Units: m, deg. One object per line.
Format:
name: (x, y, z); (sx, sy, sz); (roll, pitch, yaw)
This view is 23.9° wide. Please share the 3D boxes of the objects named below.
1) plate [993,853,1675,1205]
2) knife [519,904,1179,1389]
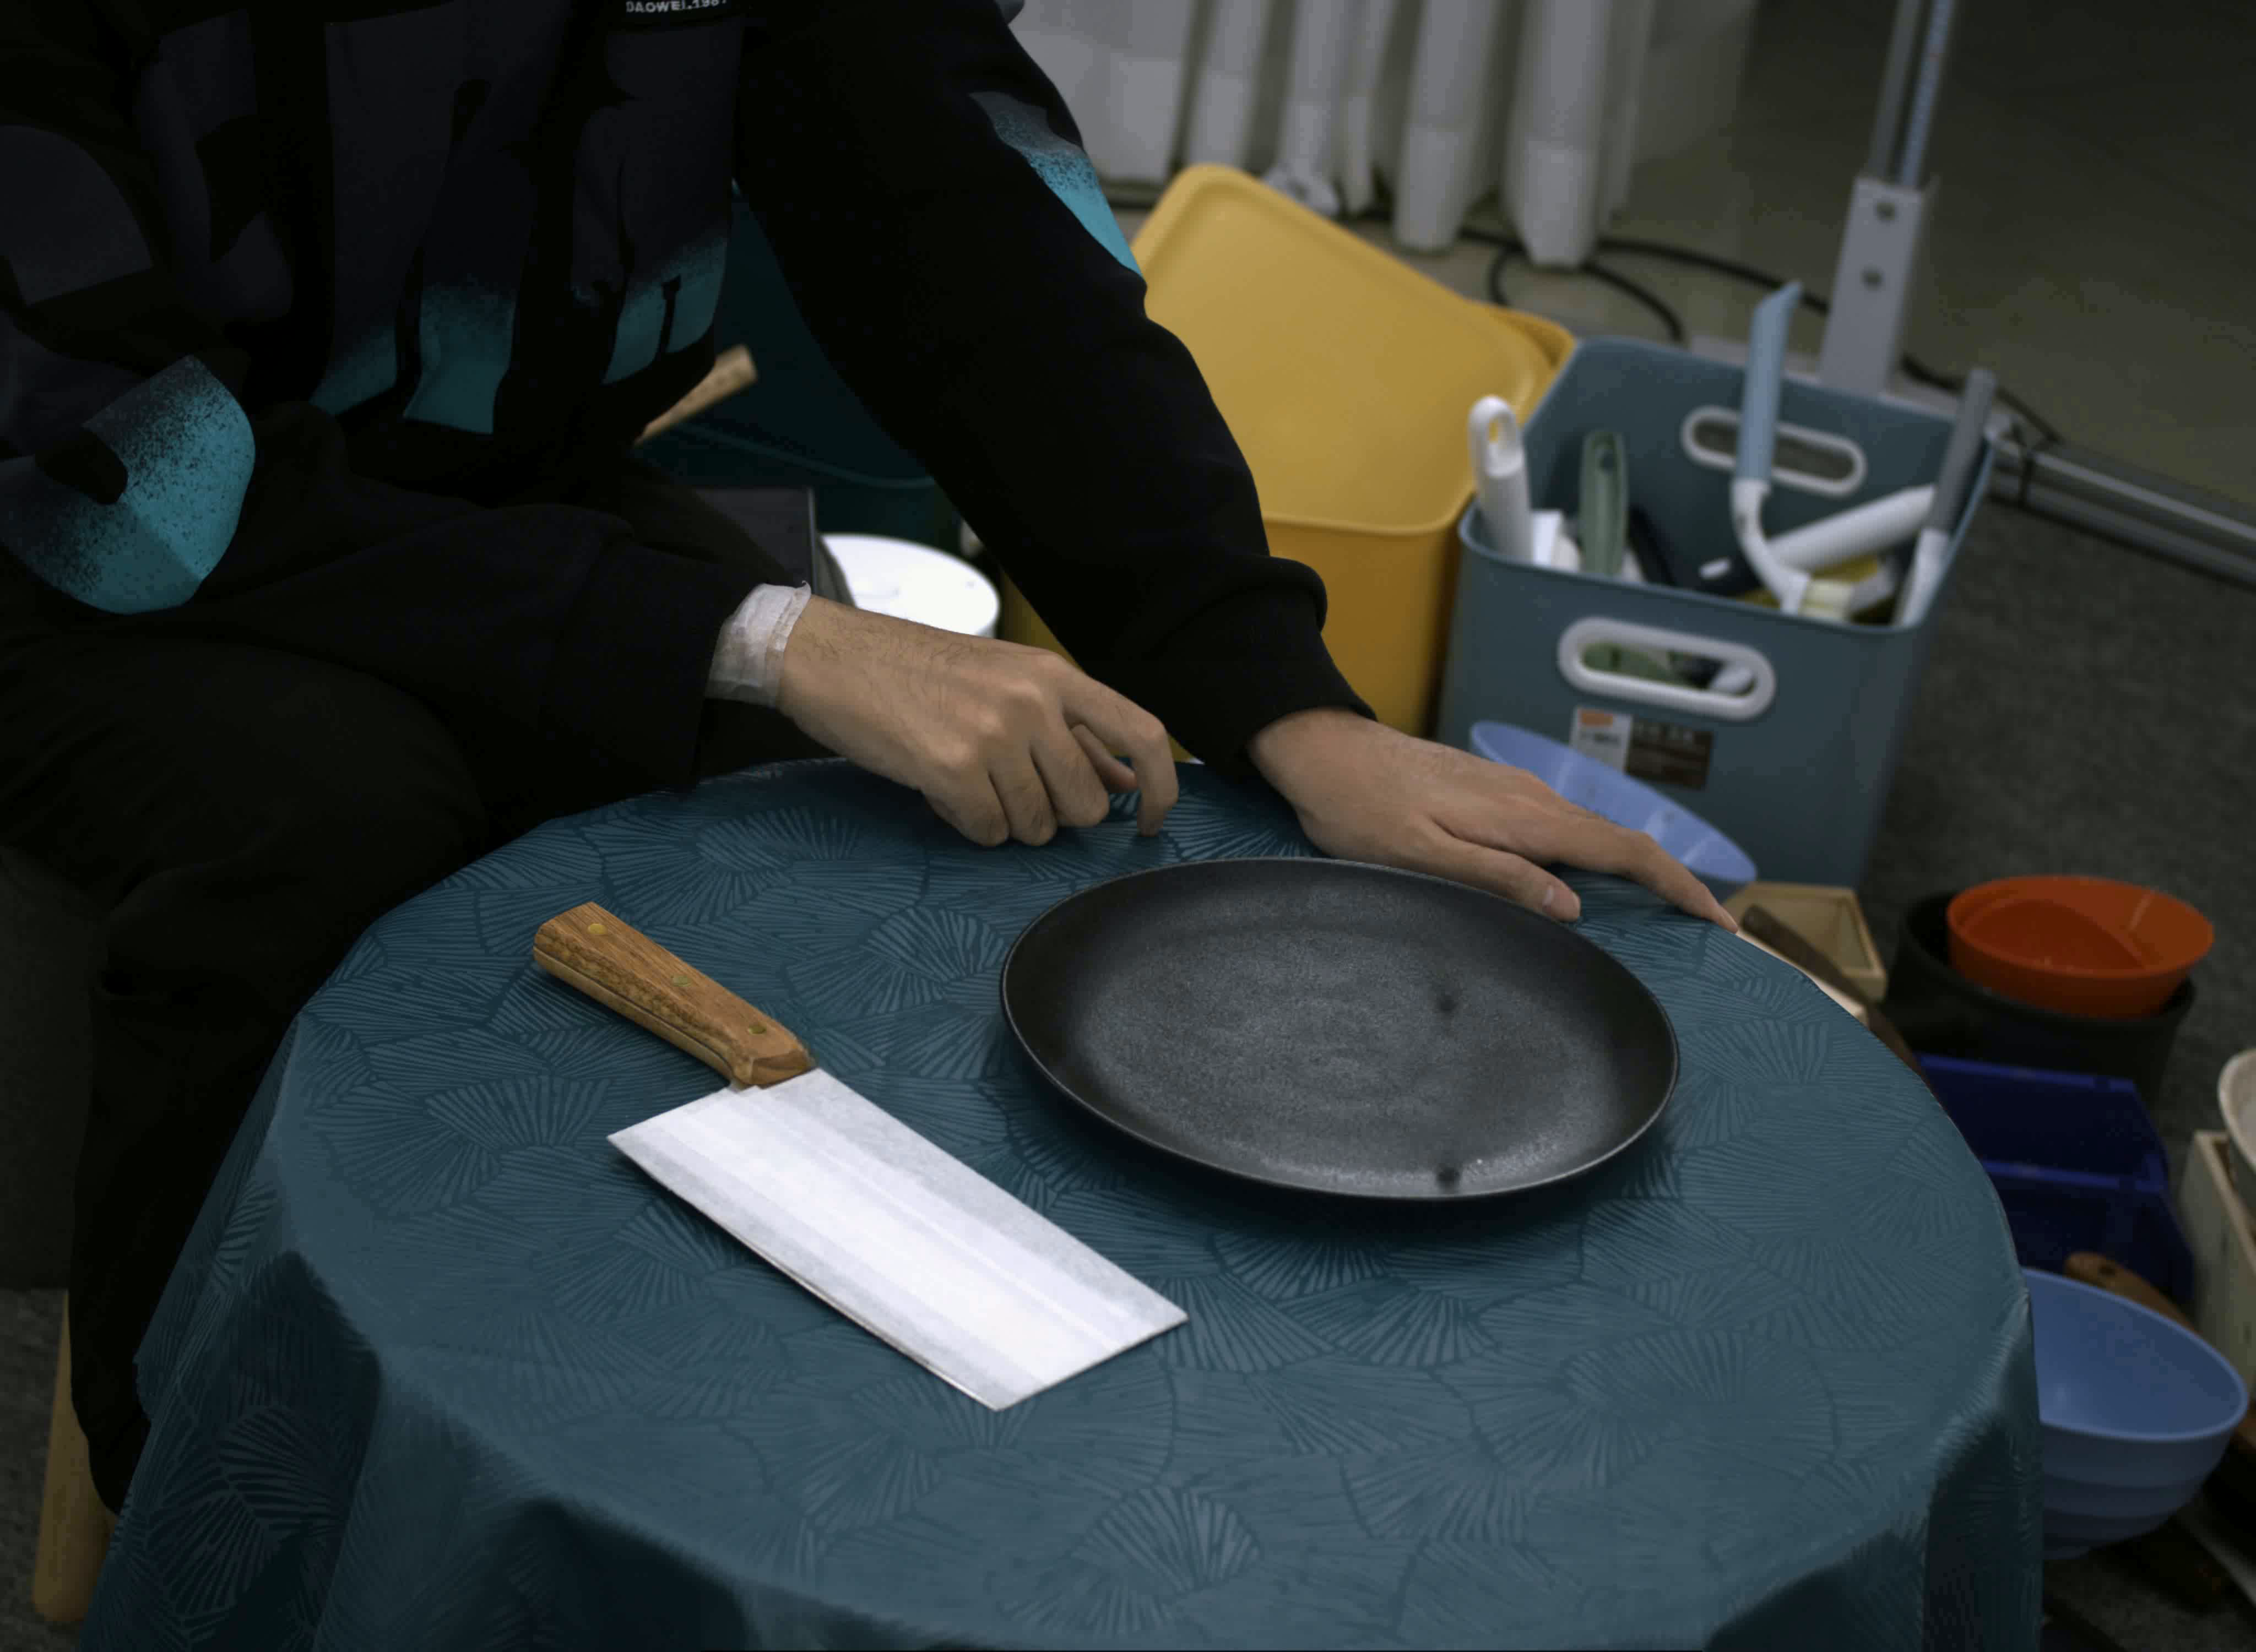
plate: (0.072, 0.076, 1.885); (0.243, 0.023, 0.246); (5, 27, -3)
knife: (-0.117, 0.108, 1.791); (0.092, 0.021, 0.308); (-22, 41, -41)
